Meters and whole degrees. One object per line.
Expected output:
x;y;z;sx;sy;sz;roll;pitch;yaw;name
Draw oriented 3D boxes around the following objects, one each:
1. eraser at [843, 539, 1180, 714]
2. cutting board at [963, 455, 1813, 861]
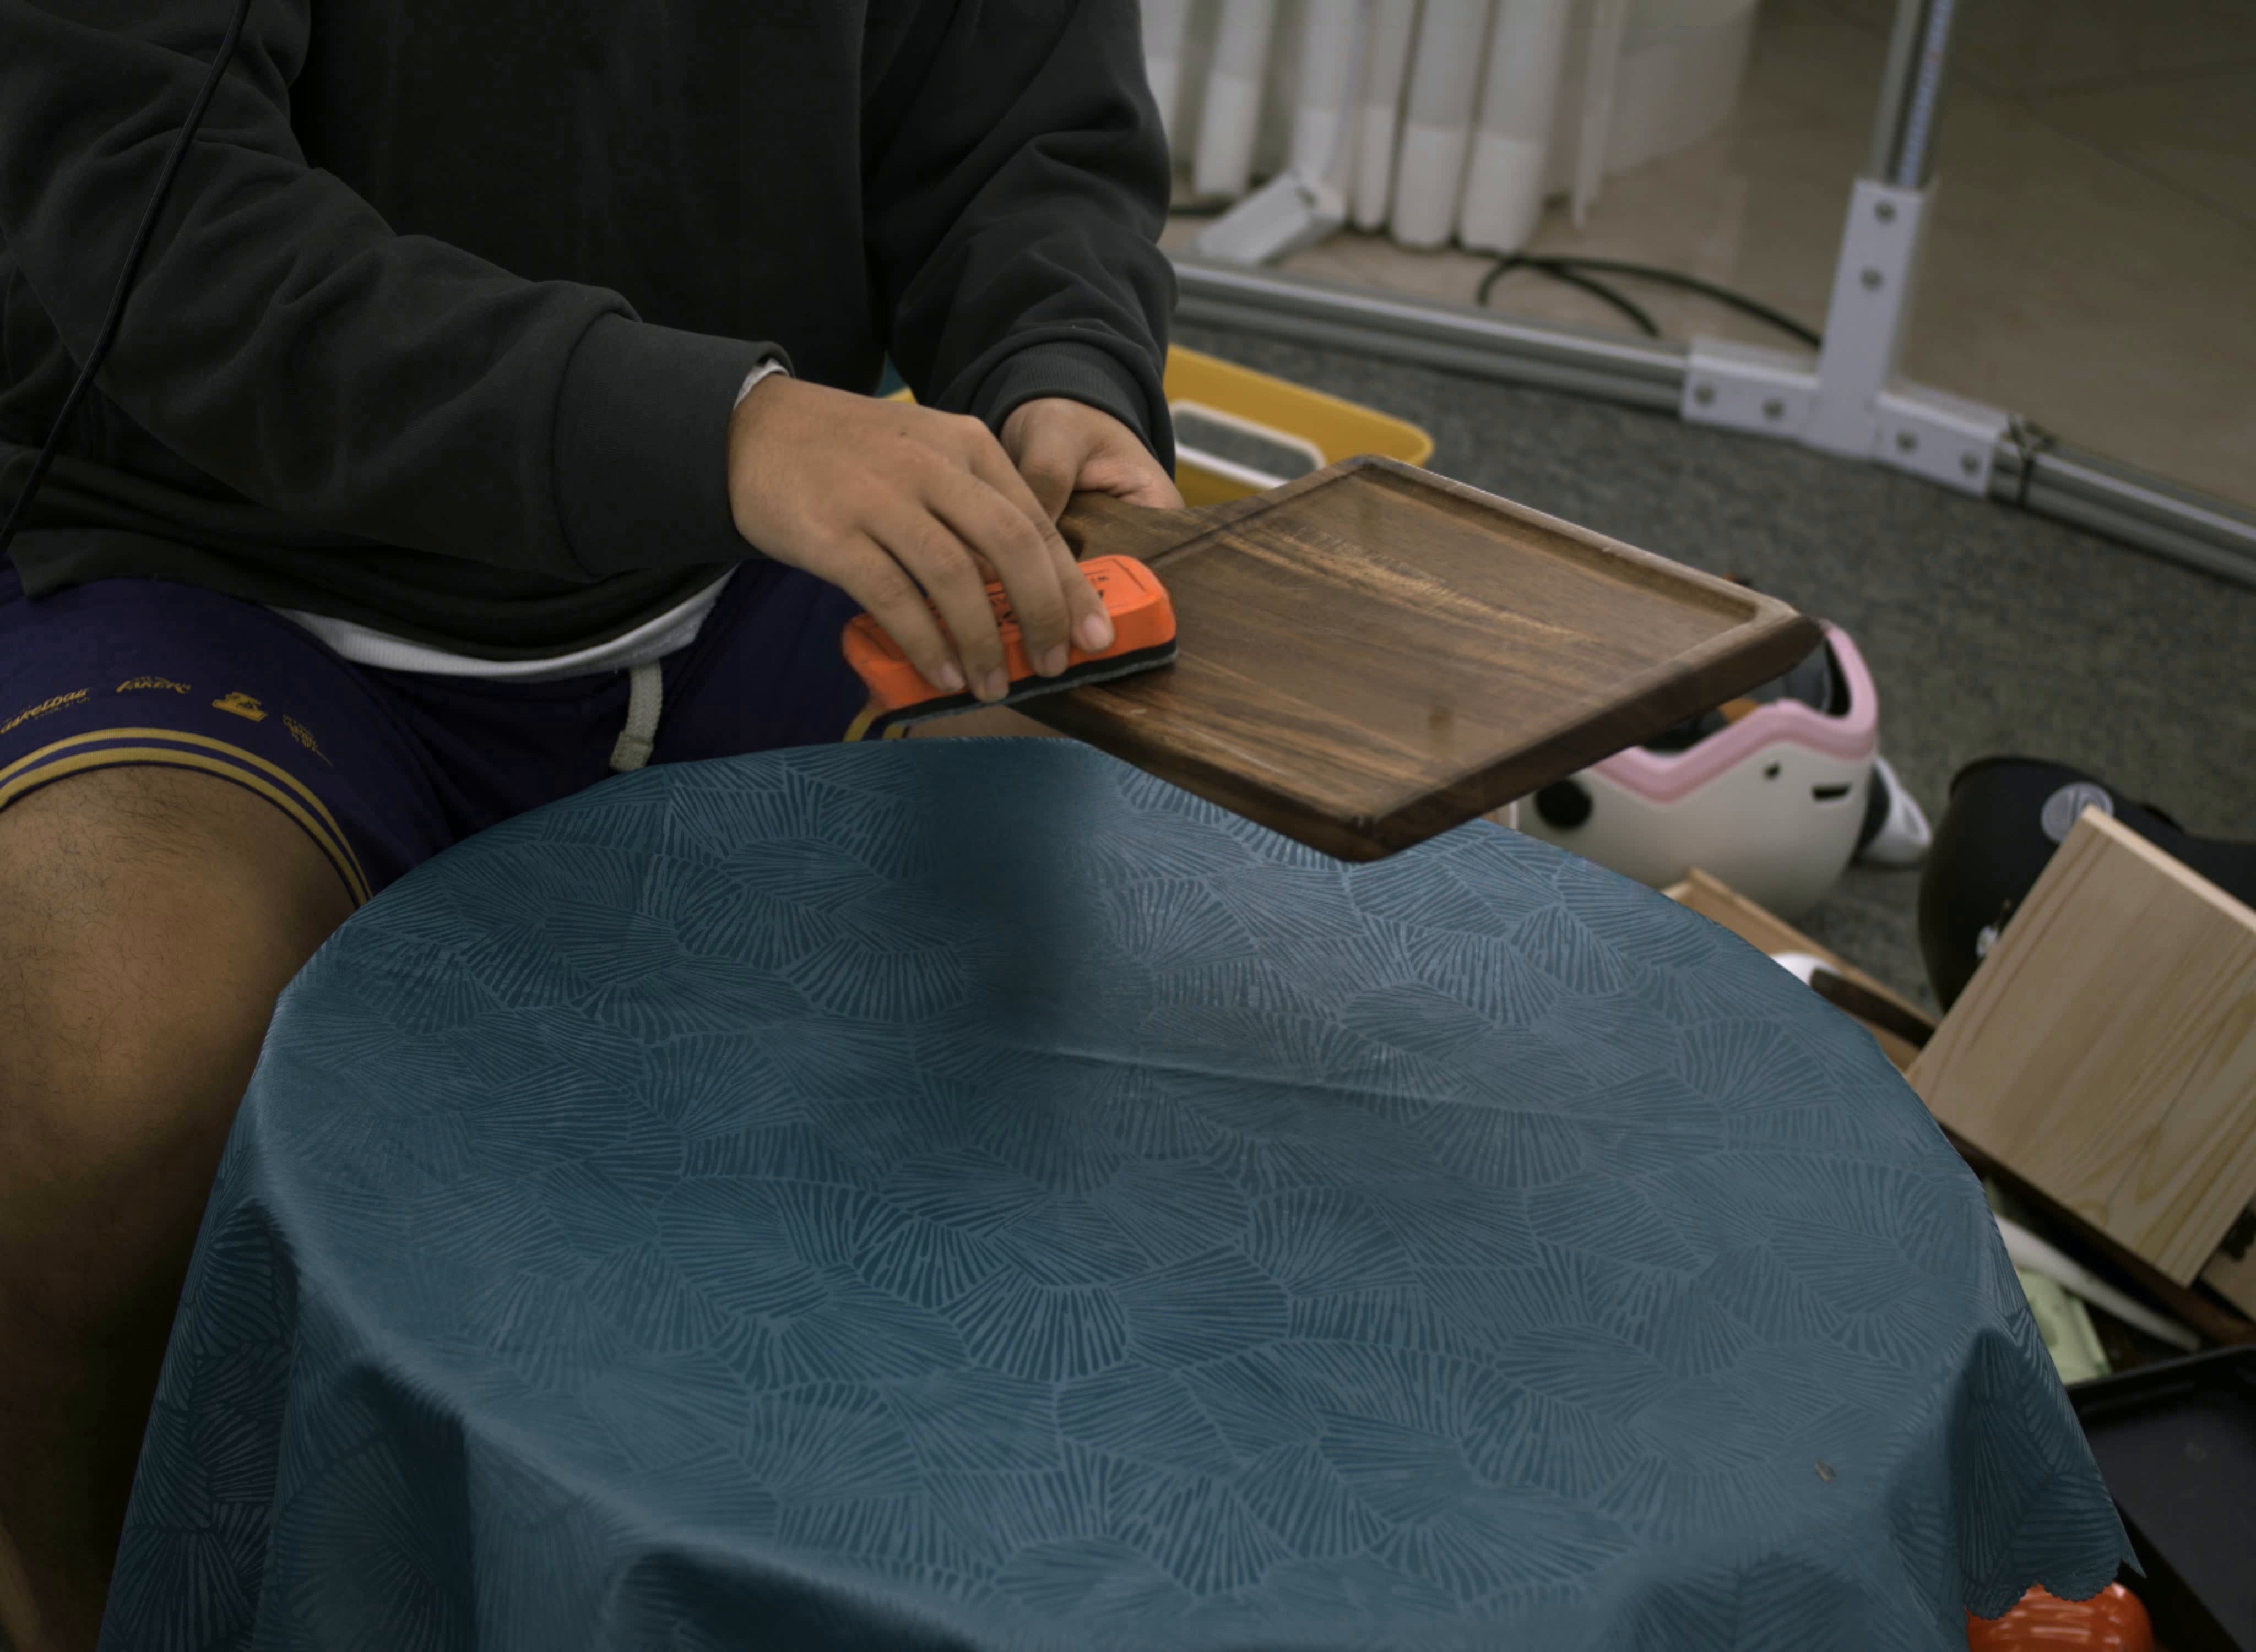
-0.040;-0.069;1.829;0.107;0.023;0.059;-16;23;-15;eraser
0.054;-0.076;1.865;0.200;0.023;0.355;-24;28;-28;cutting board
